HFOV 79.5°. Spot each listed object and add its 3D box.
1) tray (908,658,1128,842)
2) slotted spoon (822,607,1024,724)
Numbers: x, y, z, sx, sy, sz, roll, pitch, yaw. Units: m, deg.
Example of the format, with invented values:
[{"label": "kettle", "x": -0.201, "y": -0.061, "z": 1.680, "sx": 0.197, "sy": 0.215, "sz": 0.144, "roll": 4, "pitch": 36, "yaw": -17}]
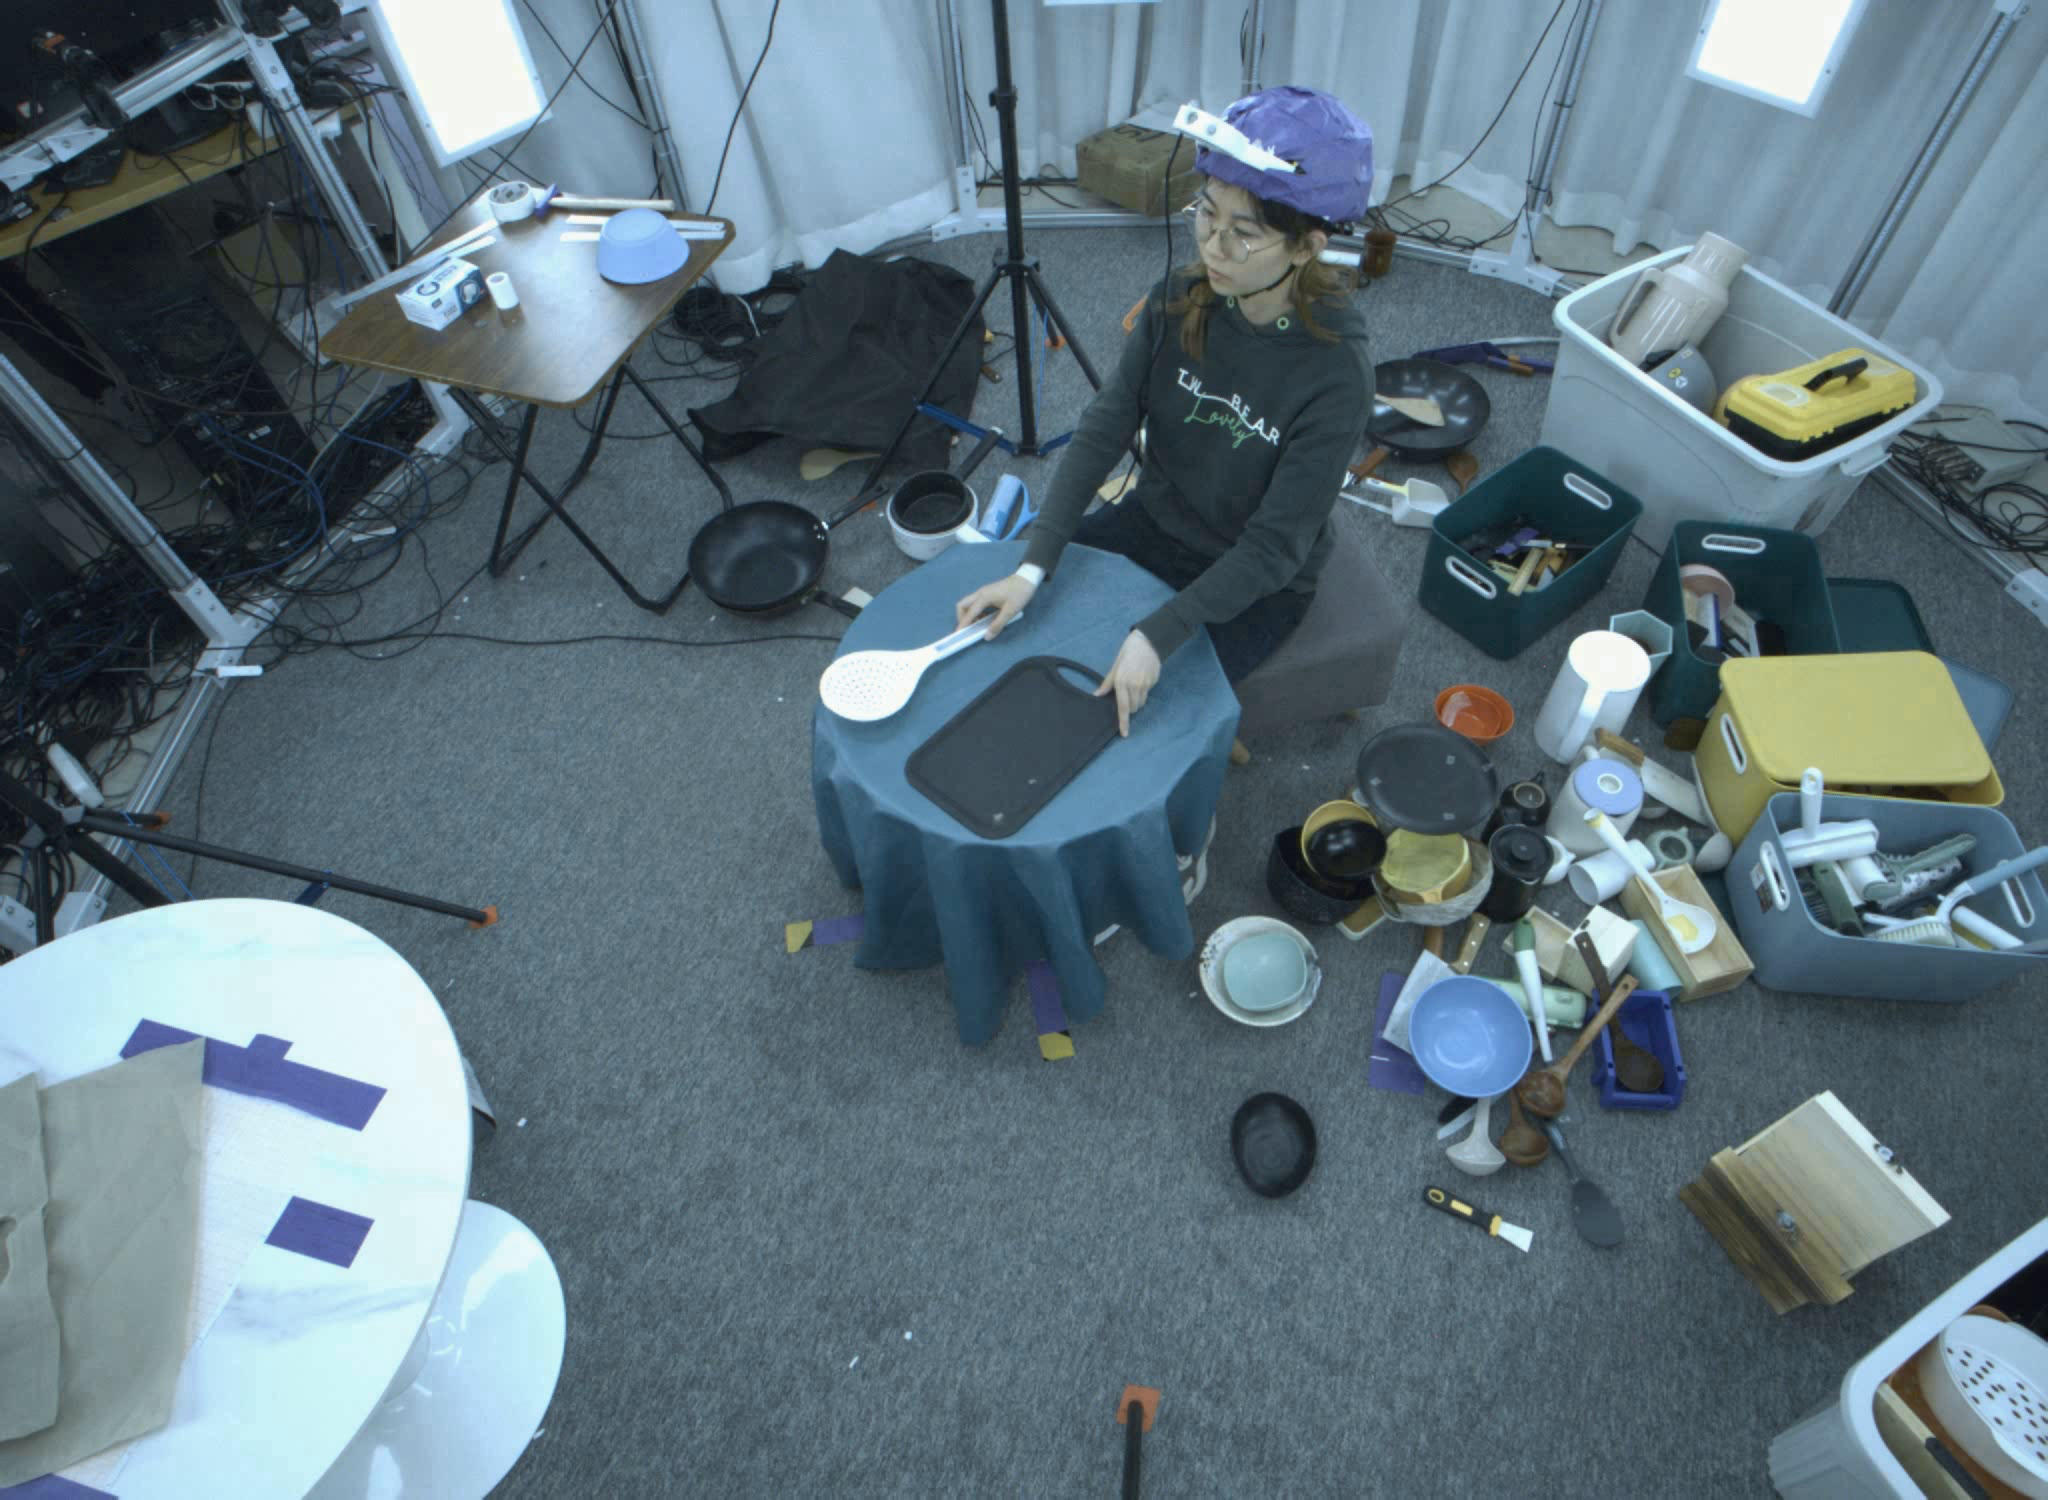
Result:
[{"label": "tray", "x": -0.003, "y": -0.013, "z": 1.801, "sx": 0.207, "sy": 0.010, "sz": 0.327, "roll": 36, "pitch": 63, "yaw": 24}, {"label": "slotted spoon", "x": -0.146, "y": -0.138, "z": 1.871, "sx": 0.352, "sy": 0.046, "sz": 0.133, "roll": -32, "pitch": 62, "yaw": -20}]
